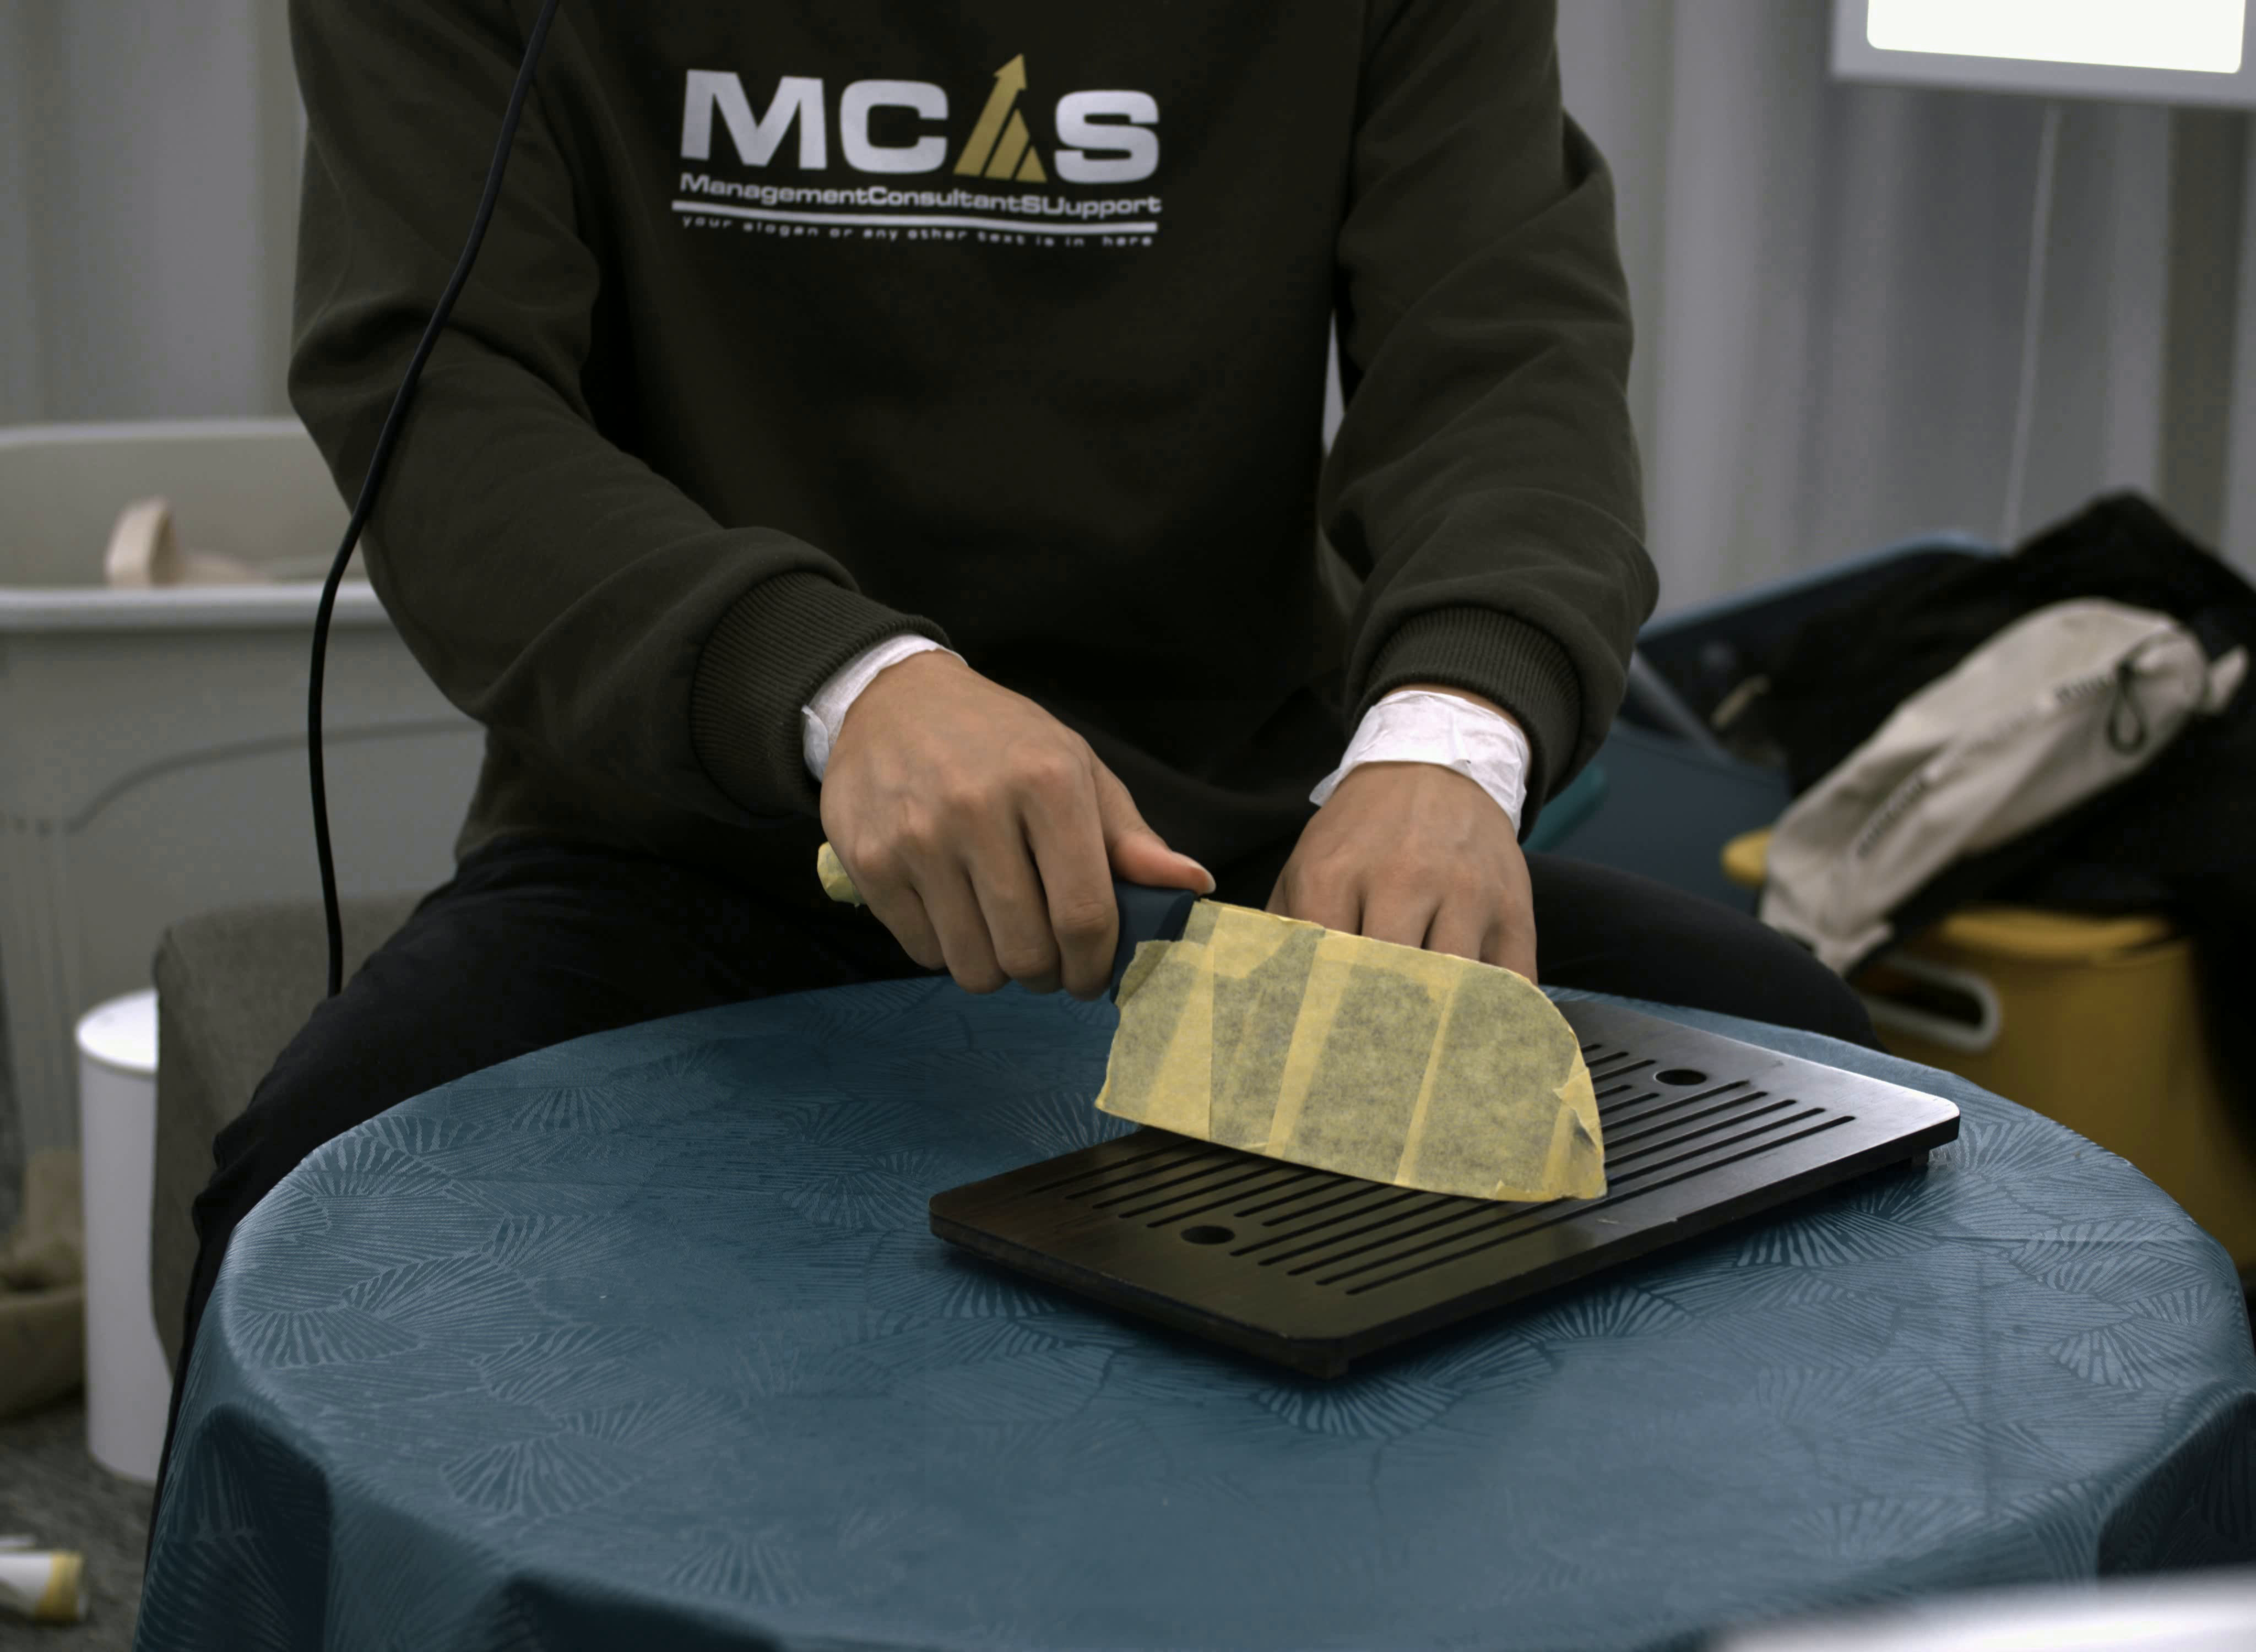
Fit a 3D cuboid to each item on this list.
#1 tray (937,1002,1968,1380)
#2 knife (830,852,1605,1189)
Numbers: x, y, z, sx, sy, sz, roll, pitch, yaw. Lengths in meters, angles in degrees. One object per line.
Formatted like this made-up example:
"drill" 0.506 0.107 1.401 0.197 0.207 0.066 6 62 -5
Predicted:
"tray" 0.103 0.108 1.610 0.307 0.019 0.168 -14 20 -43
"knife" 0.022 0.058 1.625 0.286 0.081 0.027 15 -9 31
